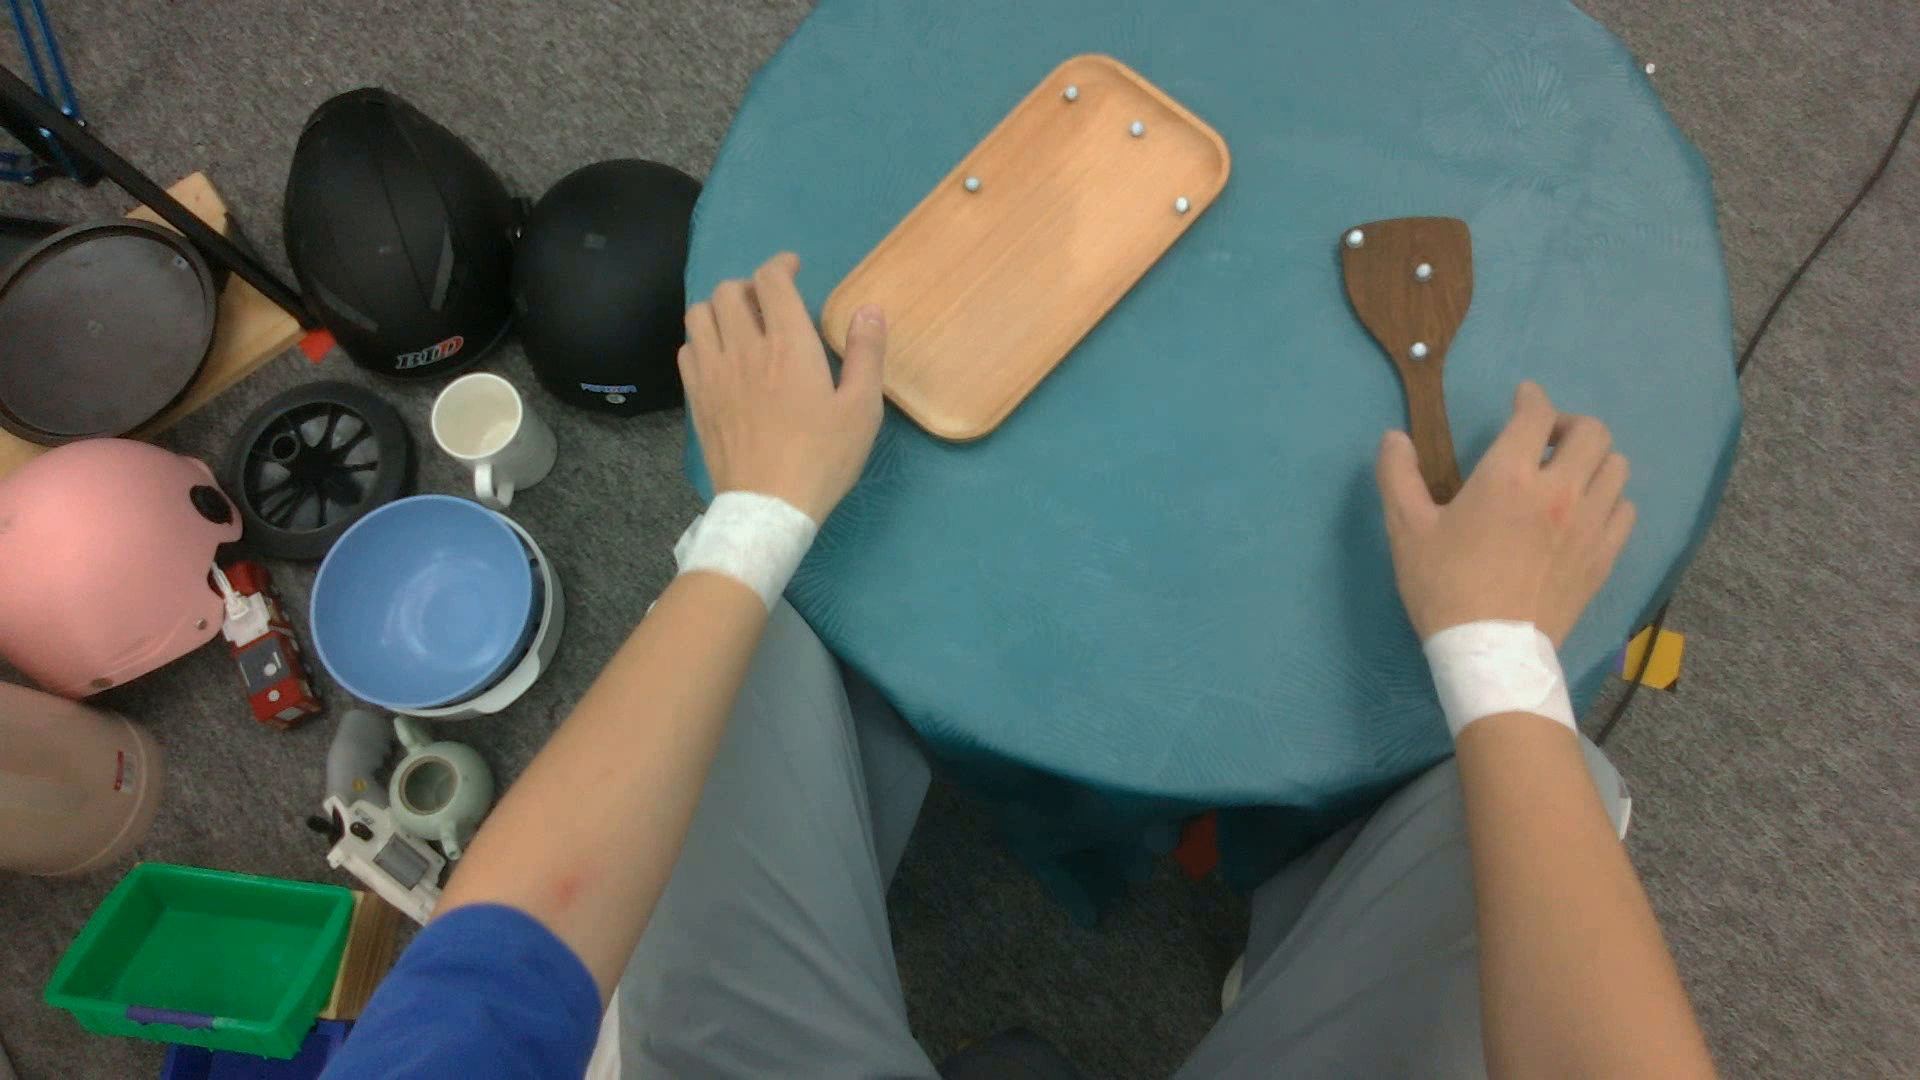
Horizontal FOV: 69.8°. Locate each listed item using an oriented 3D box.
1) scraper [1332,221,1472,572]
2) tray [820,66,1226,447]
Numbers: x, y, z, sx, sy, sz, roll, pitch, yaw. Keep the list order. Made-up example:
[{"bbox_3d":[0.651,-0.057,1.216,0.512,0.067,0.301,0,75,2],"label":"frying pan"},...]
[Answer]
[{"bbox_3d":[0.259,-0.084,0.776,0.076,0.011,0.212,-3,72,3],"label":"scraper"},{"bbox_3d":[0.038,-0.170,0.812,0.130,0.023,0.251,41,79,17],"label":"tray"}]
